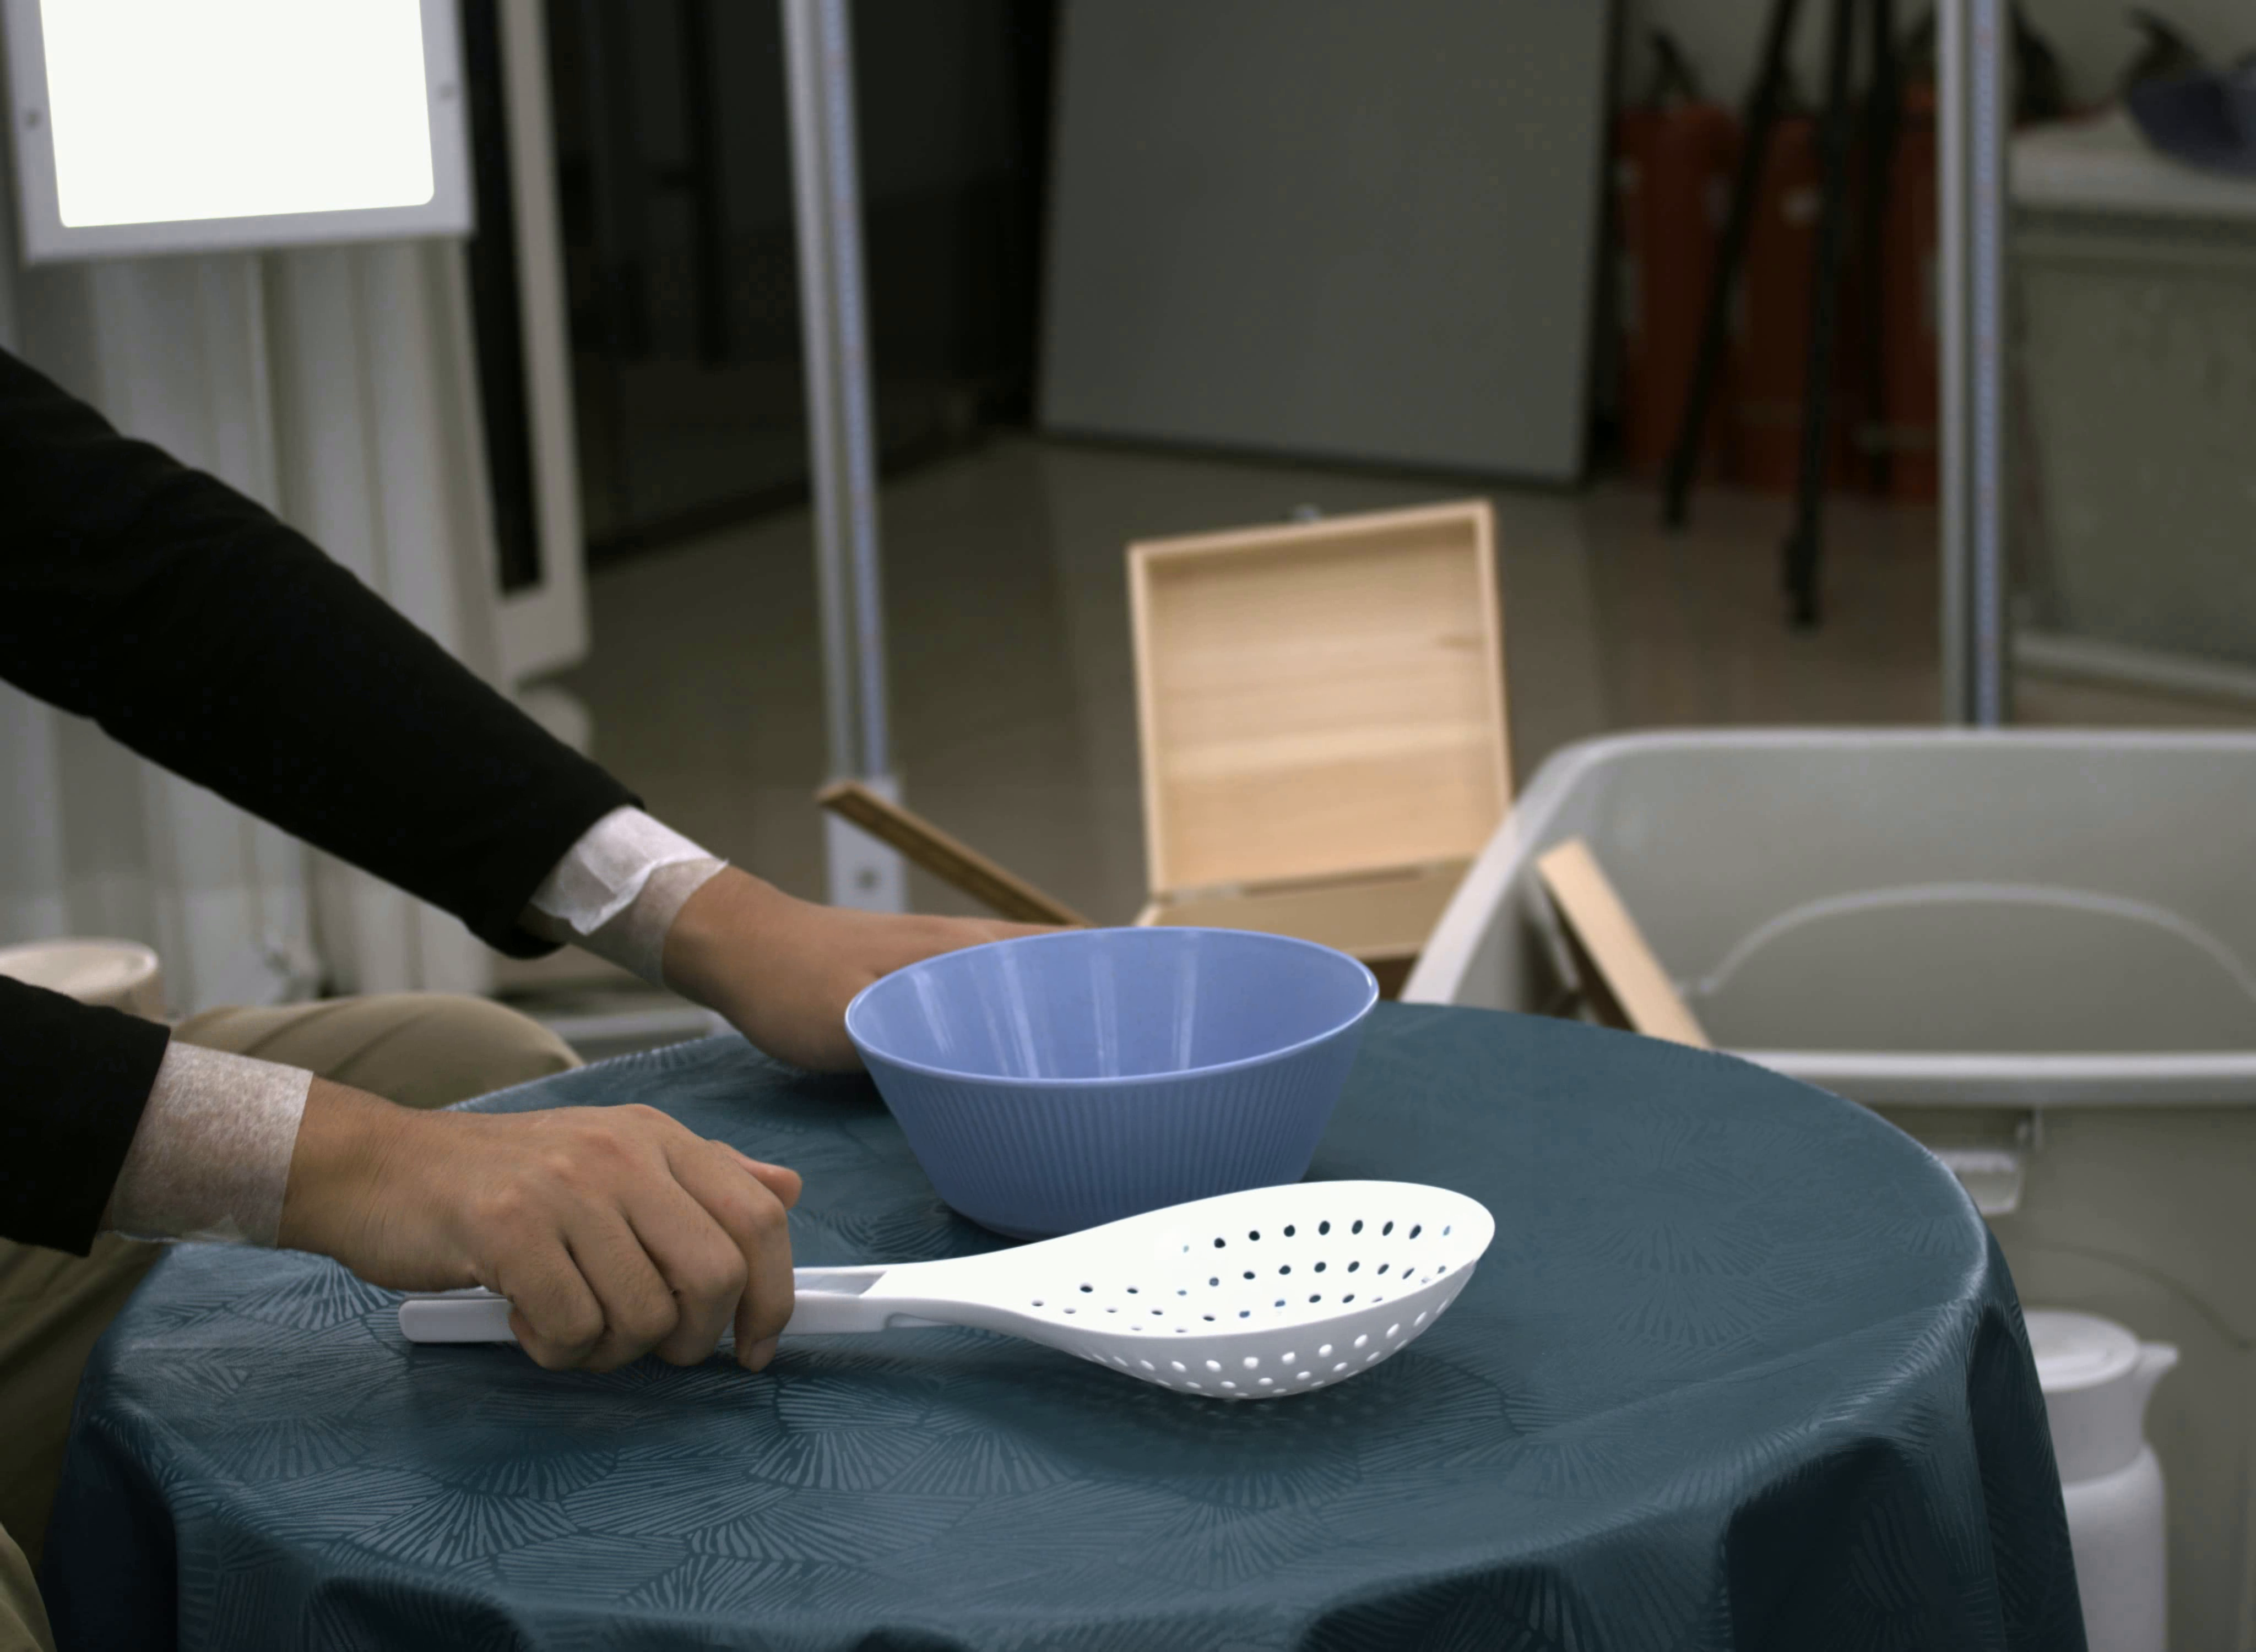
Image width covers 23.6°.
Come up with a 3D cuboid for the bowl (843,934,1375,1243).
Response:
[{"bbox_3d":[-0.004,0.087,1.760,0.174,0.071,0.176,-5,13,0],"label":"bowl"}]

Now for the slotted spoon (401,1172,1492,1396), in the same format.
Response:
[{"bbox_3d":[-0.059,0.140,1.614,0.349,0.046,0.135,-1,15,20],"label":"slotted spoon"}]
